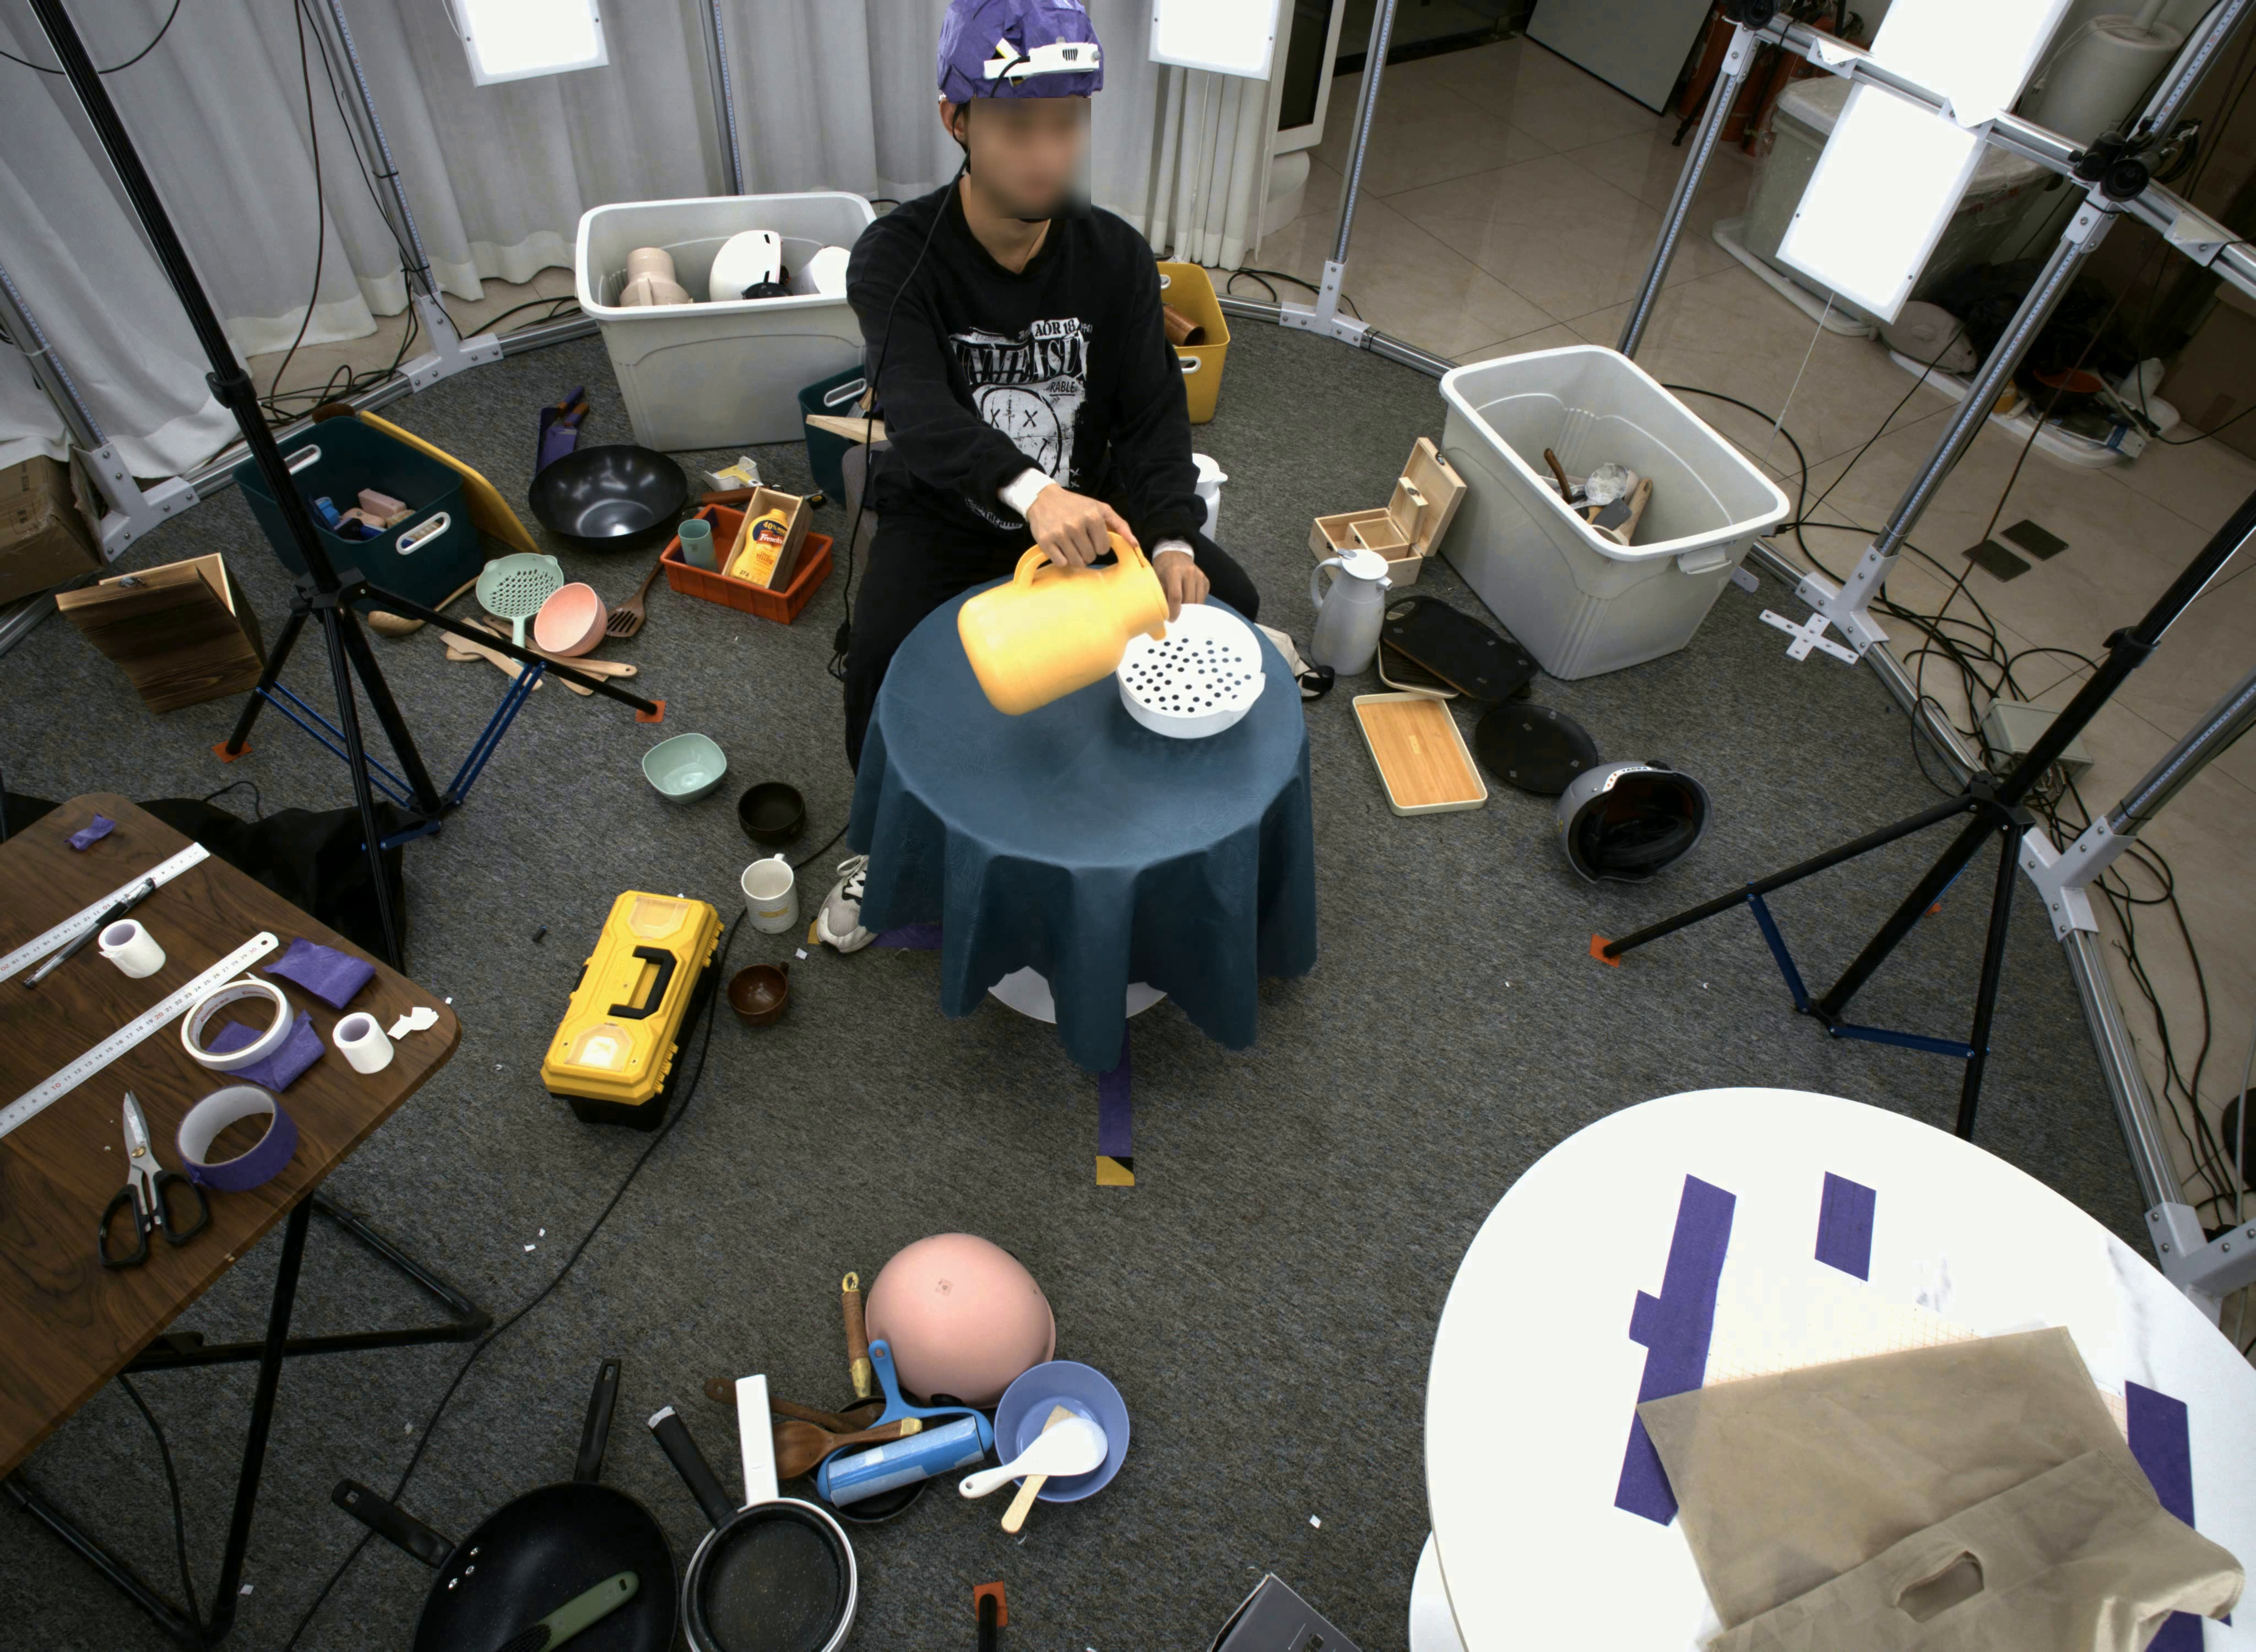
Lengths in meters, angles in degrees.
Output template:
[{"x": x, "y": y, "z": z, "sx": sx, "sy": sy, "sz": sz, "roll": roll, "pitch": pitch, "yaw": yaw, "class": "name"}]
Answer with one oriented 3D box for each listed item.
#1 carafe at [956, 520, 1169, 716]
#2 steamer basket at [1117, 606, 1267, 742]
[{"x": -0.085, "y": -0.270, "z": 1.630, "sx": 0.260, "sy": 0.197, "sz": 0.167, "roll": -24, "pitch": 39, "yaw": -1, "class": "carafe"}, {"x": 0.087, "y": -0.208, "z": 1.772, "sx": 0.233, "sy": 0.067, "sz": 0.204, "roll": 34, "pitch": 65, "yaw": 24, "class": "steamer basket"}]
